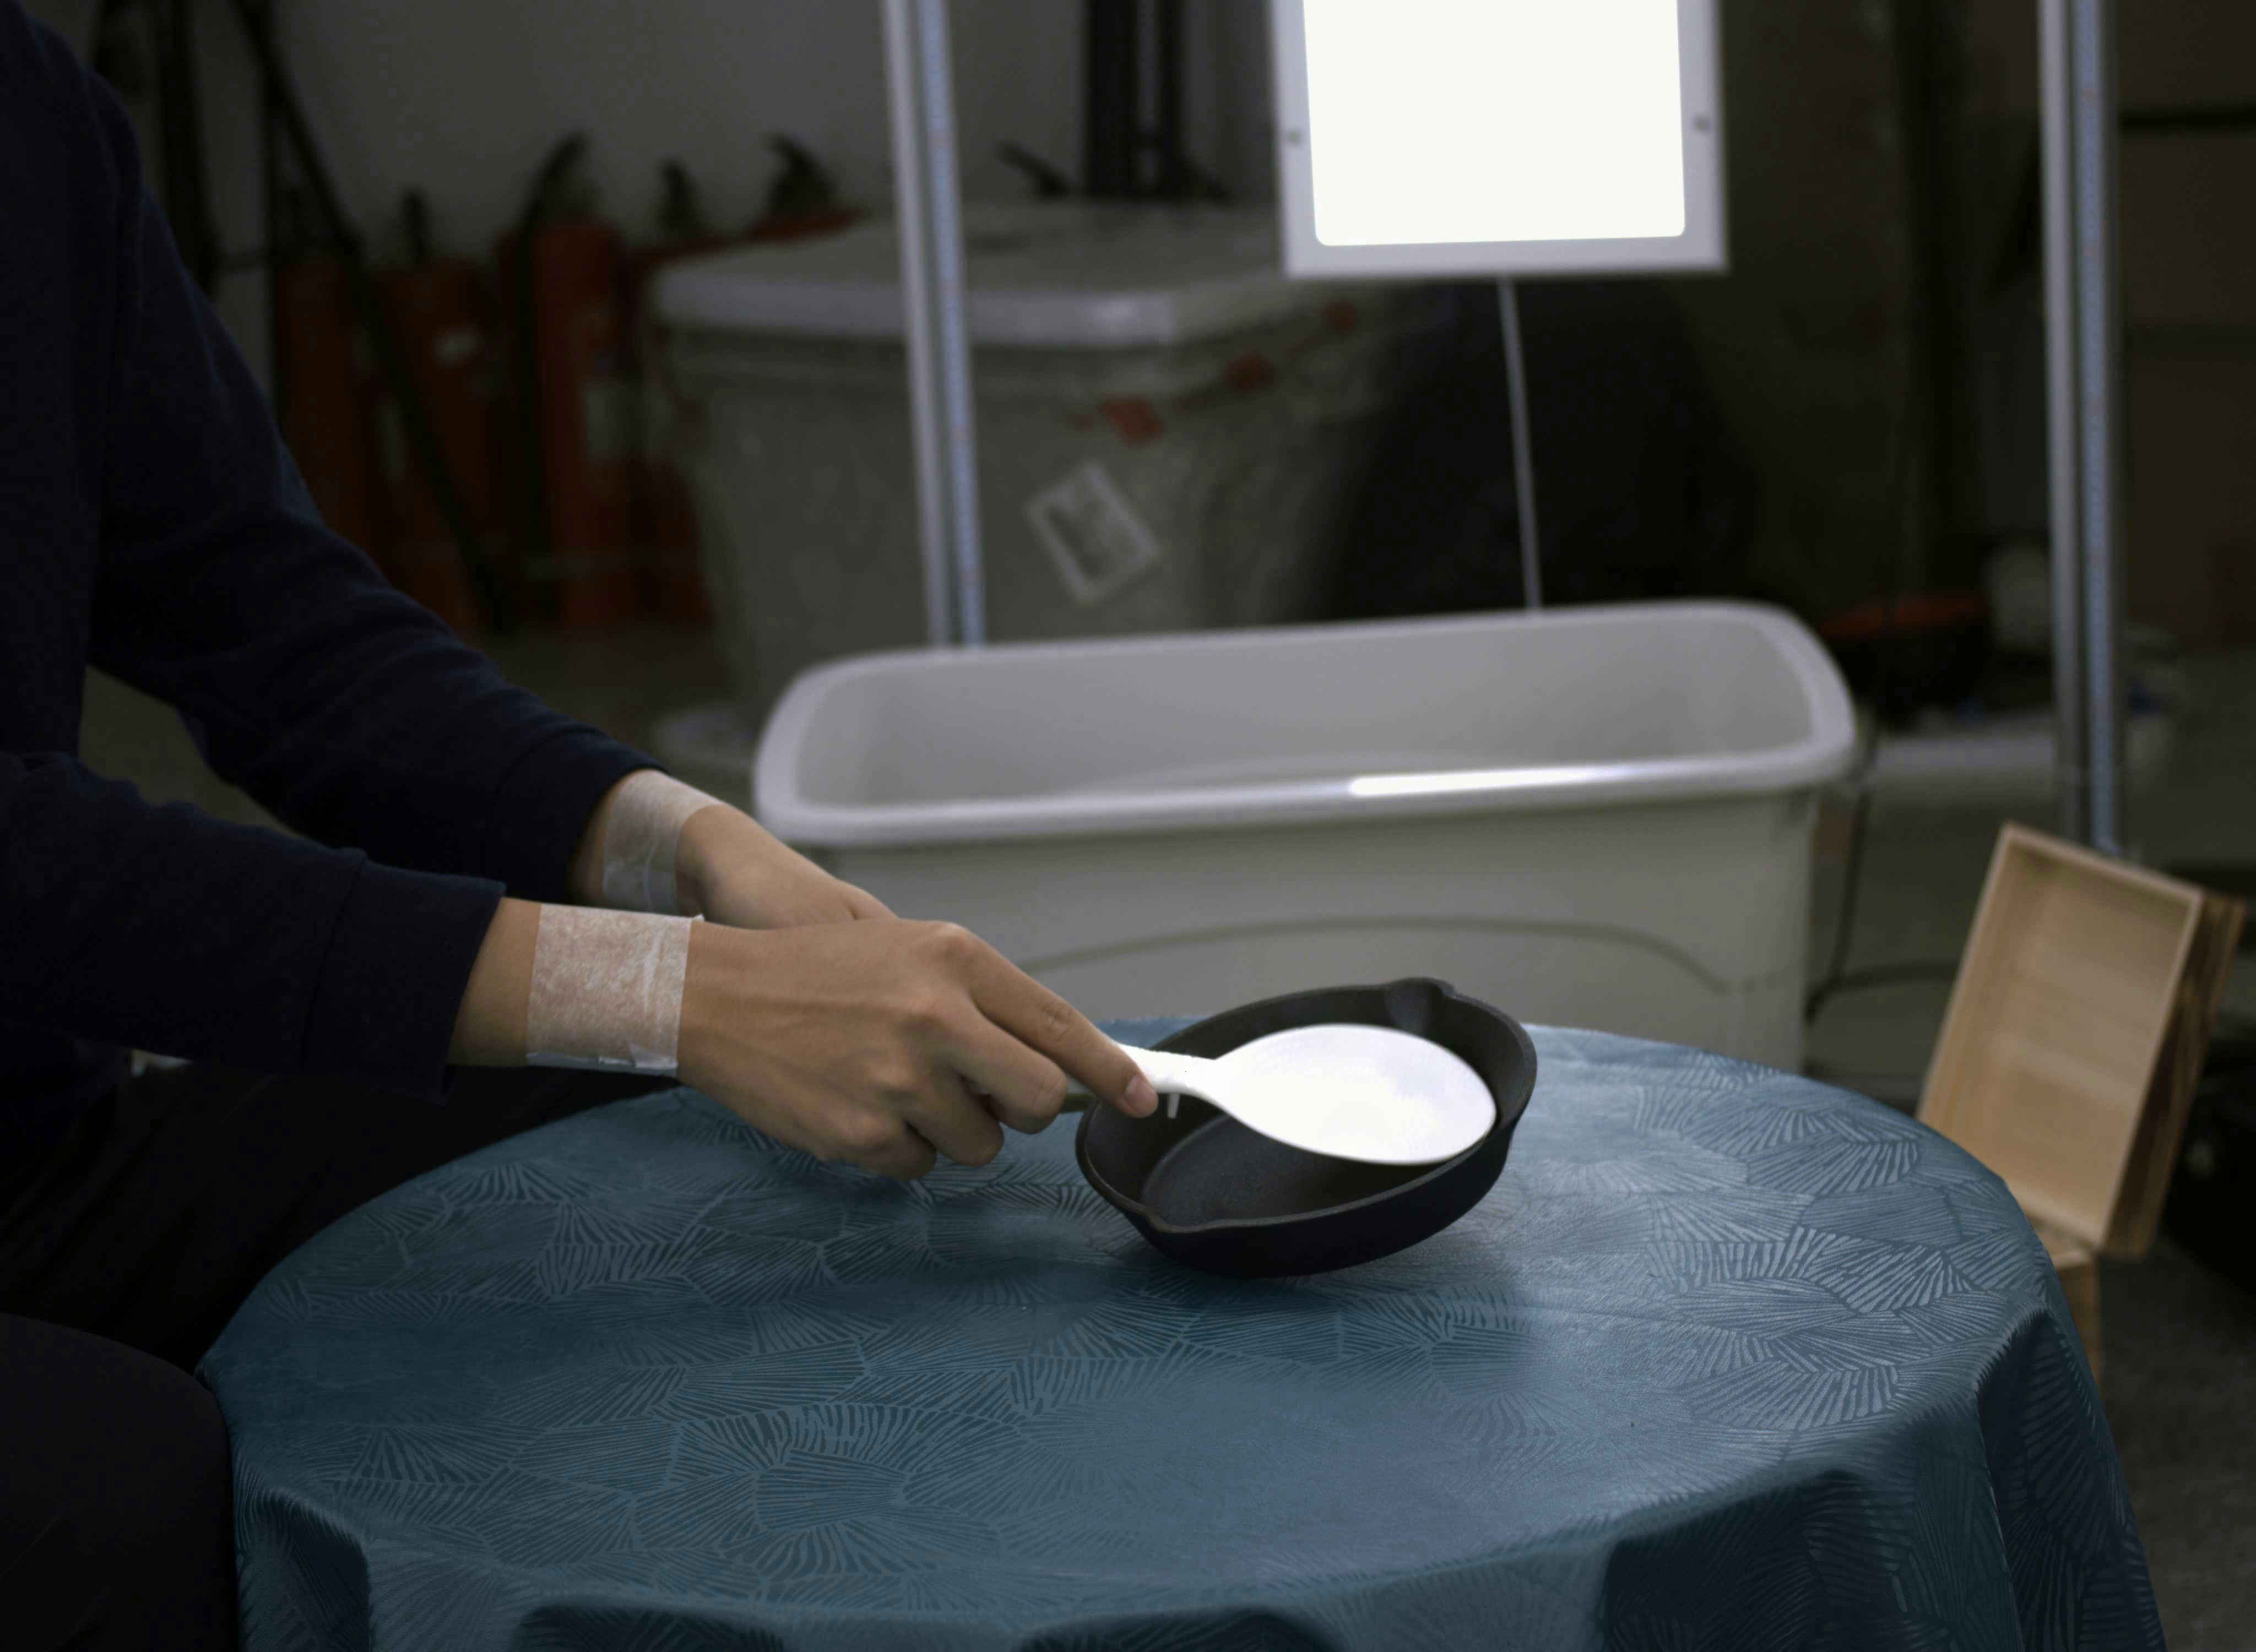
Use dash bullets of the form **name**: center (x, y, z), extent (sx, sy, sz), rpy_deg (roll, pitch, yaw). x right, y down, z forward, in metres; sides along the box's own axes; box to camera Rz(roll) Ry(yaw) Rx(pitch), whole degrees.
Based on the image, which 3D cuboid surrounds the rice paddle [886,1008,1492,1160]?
- **rice paddle**: center (0.022, 0.084, 1.841), extent (0.204, 0.029, 0.068), rpy_deg (5, 37, -2)

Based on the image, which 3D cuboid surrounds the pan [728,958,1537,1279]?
- **pan**: center (-0.007, 0.089, 1.887), extent (0.331, 0.049, 0.165), rpy_deg (8, 32, 37)
